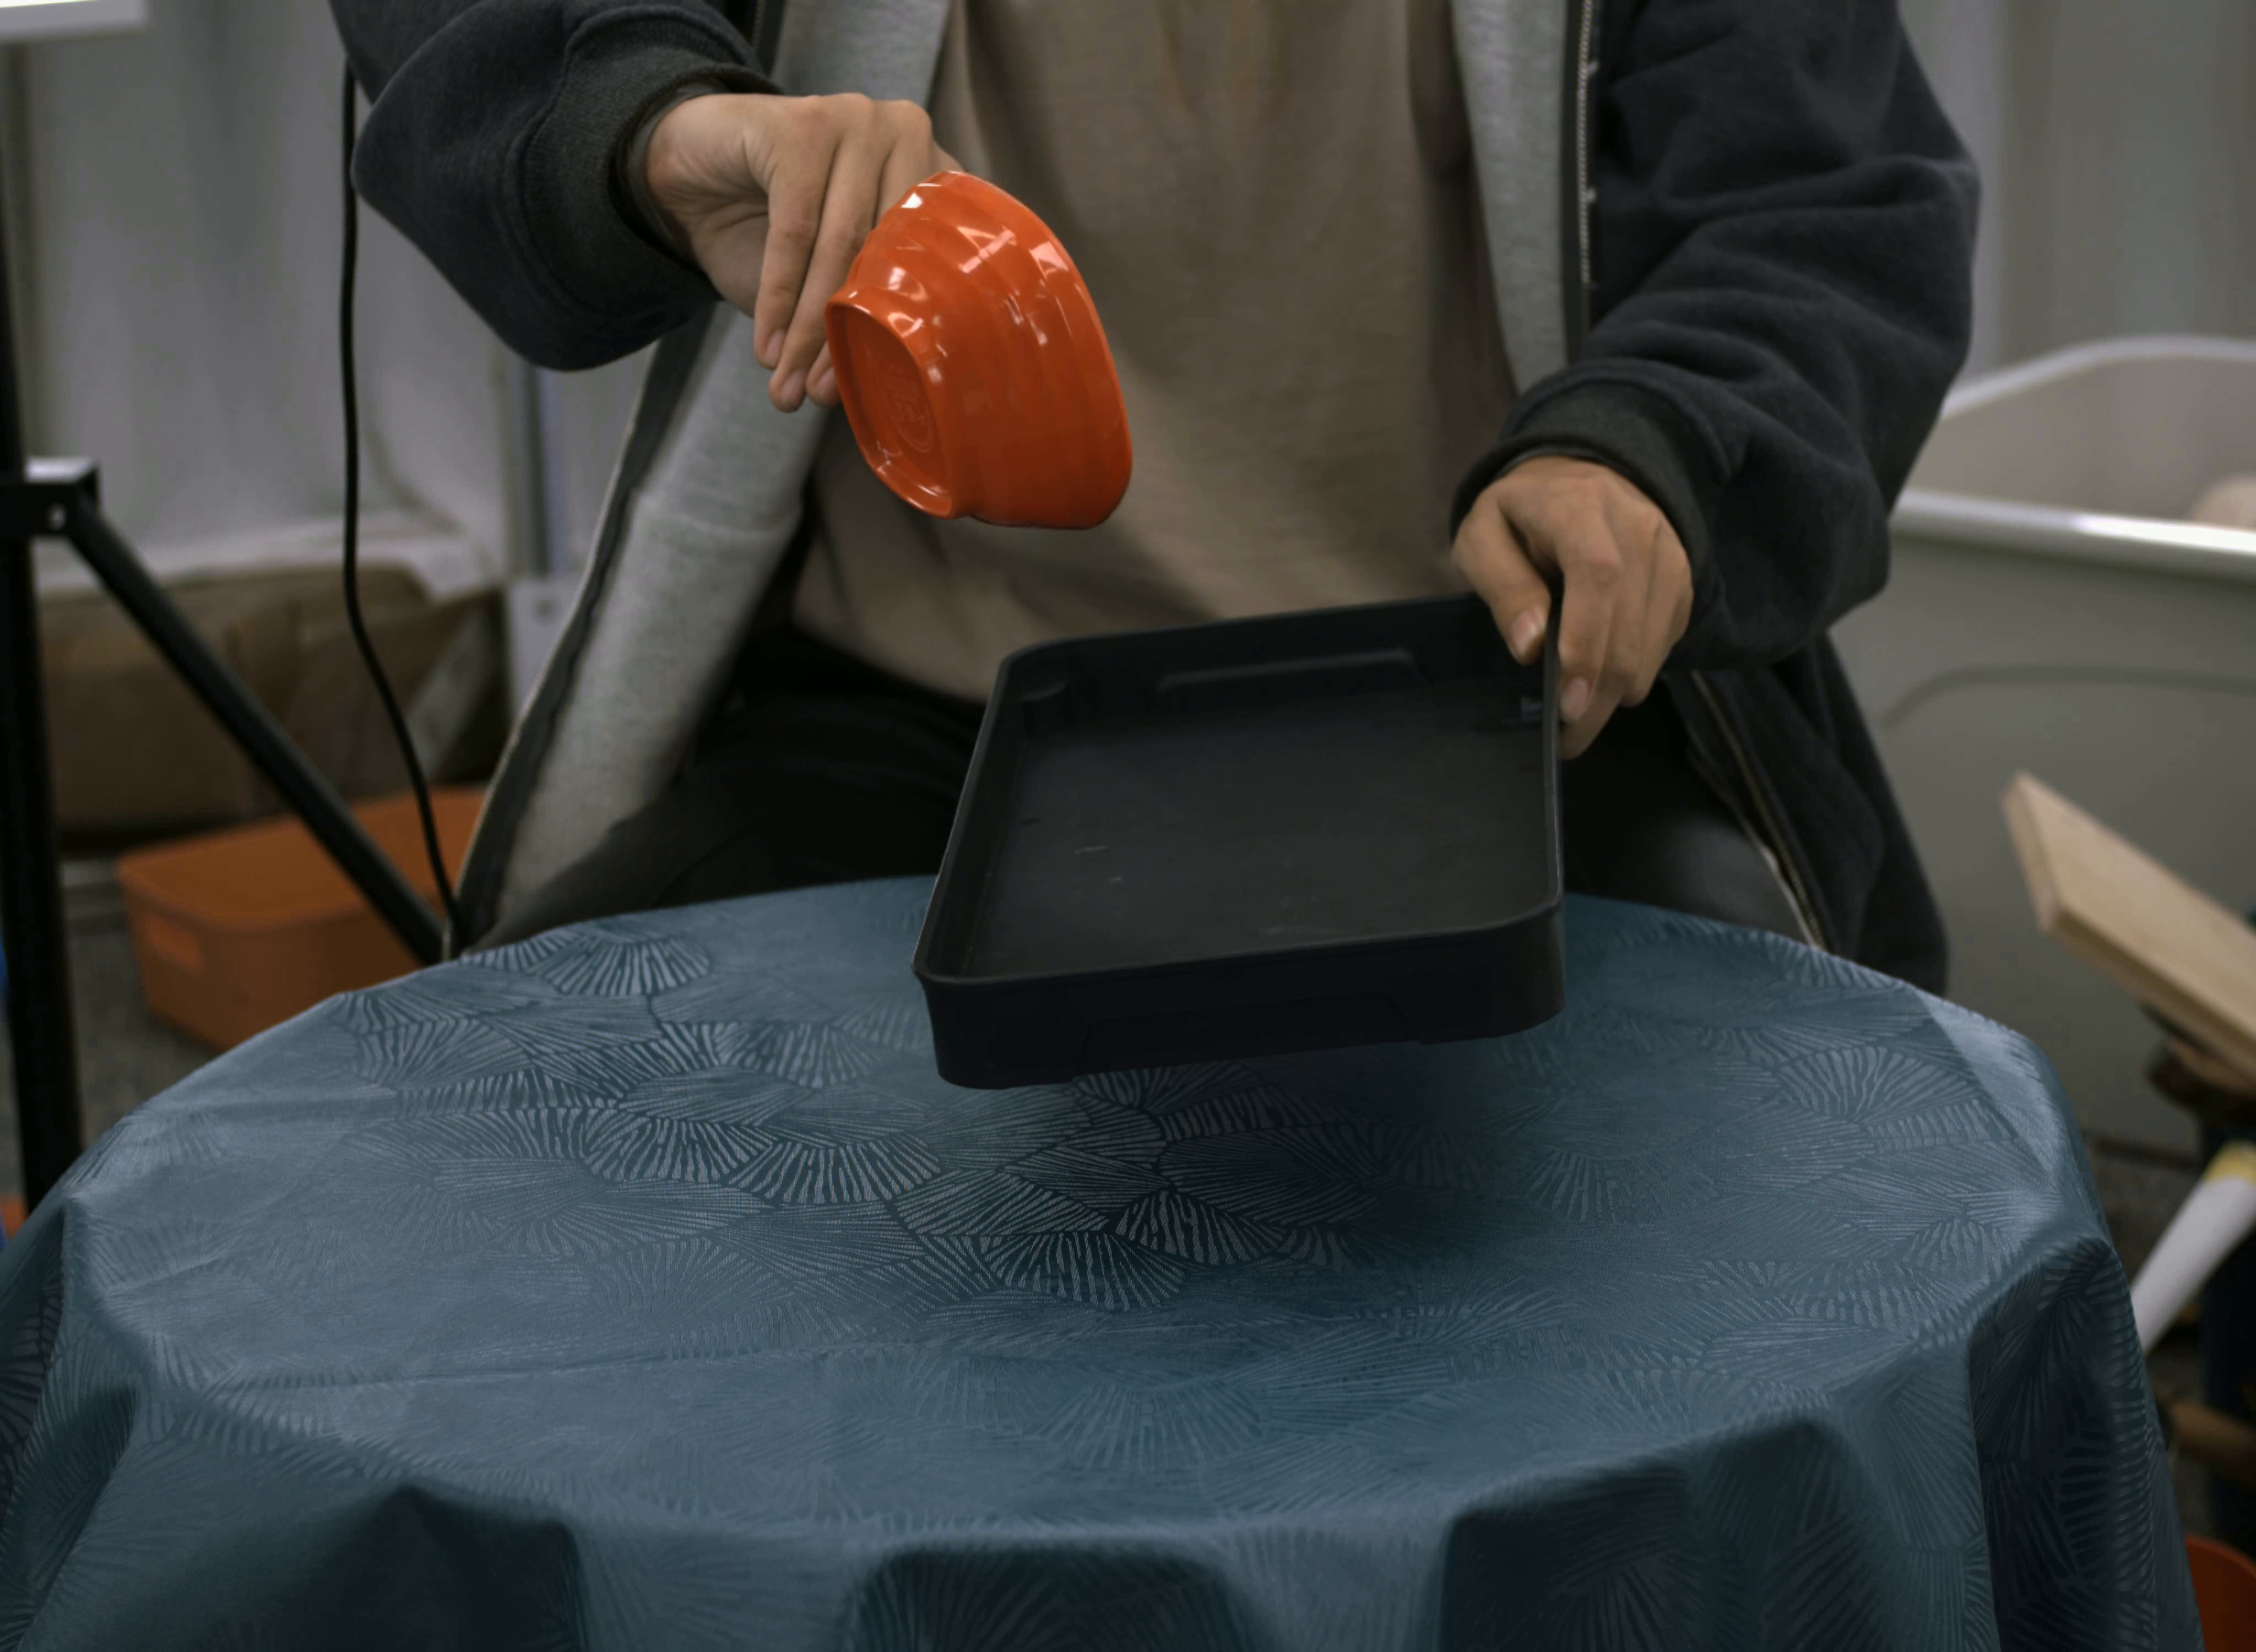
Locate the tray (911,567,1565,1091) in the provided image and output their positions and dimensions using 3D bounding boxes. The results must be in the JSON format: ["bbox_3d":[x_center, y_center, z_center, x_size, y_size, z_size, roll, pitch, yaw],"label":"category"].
[{"bbox_3d":[0.040,-0.004,1.604,0.184,0.037,0.318,-6,20,7],"label":"tray"}]

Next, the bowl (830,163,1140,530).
[{"bbox_3d":[-0.048,-0.134,1.581,0.050,0.118,0.121,-26,24,-20],"label":"bowl"}]
